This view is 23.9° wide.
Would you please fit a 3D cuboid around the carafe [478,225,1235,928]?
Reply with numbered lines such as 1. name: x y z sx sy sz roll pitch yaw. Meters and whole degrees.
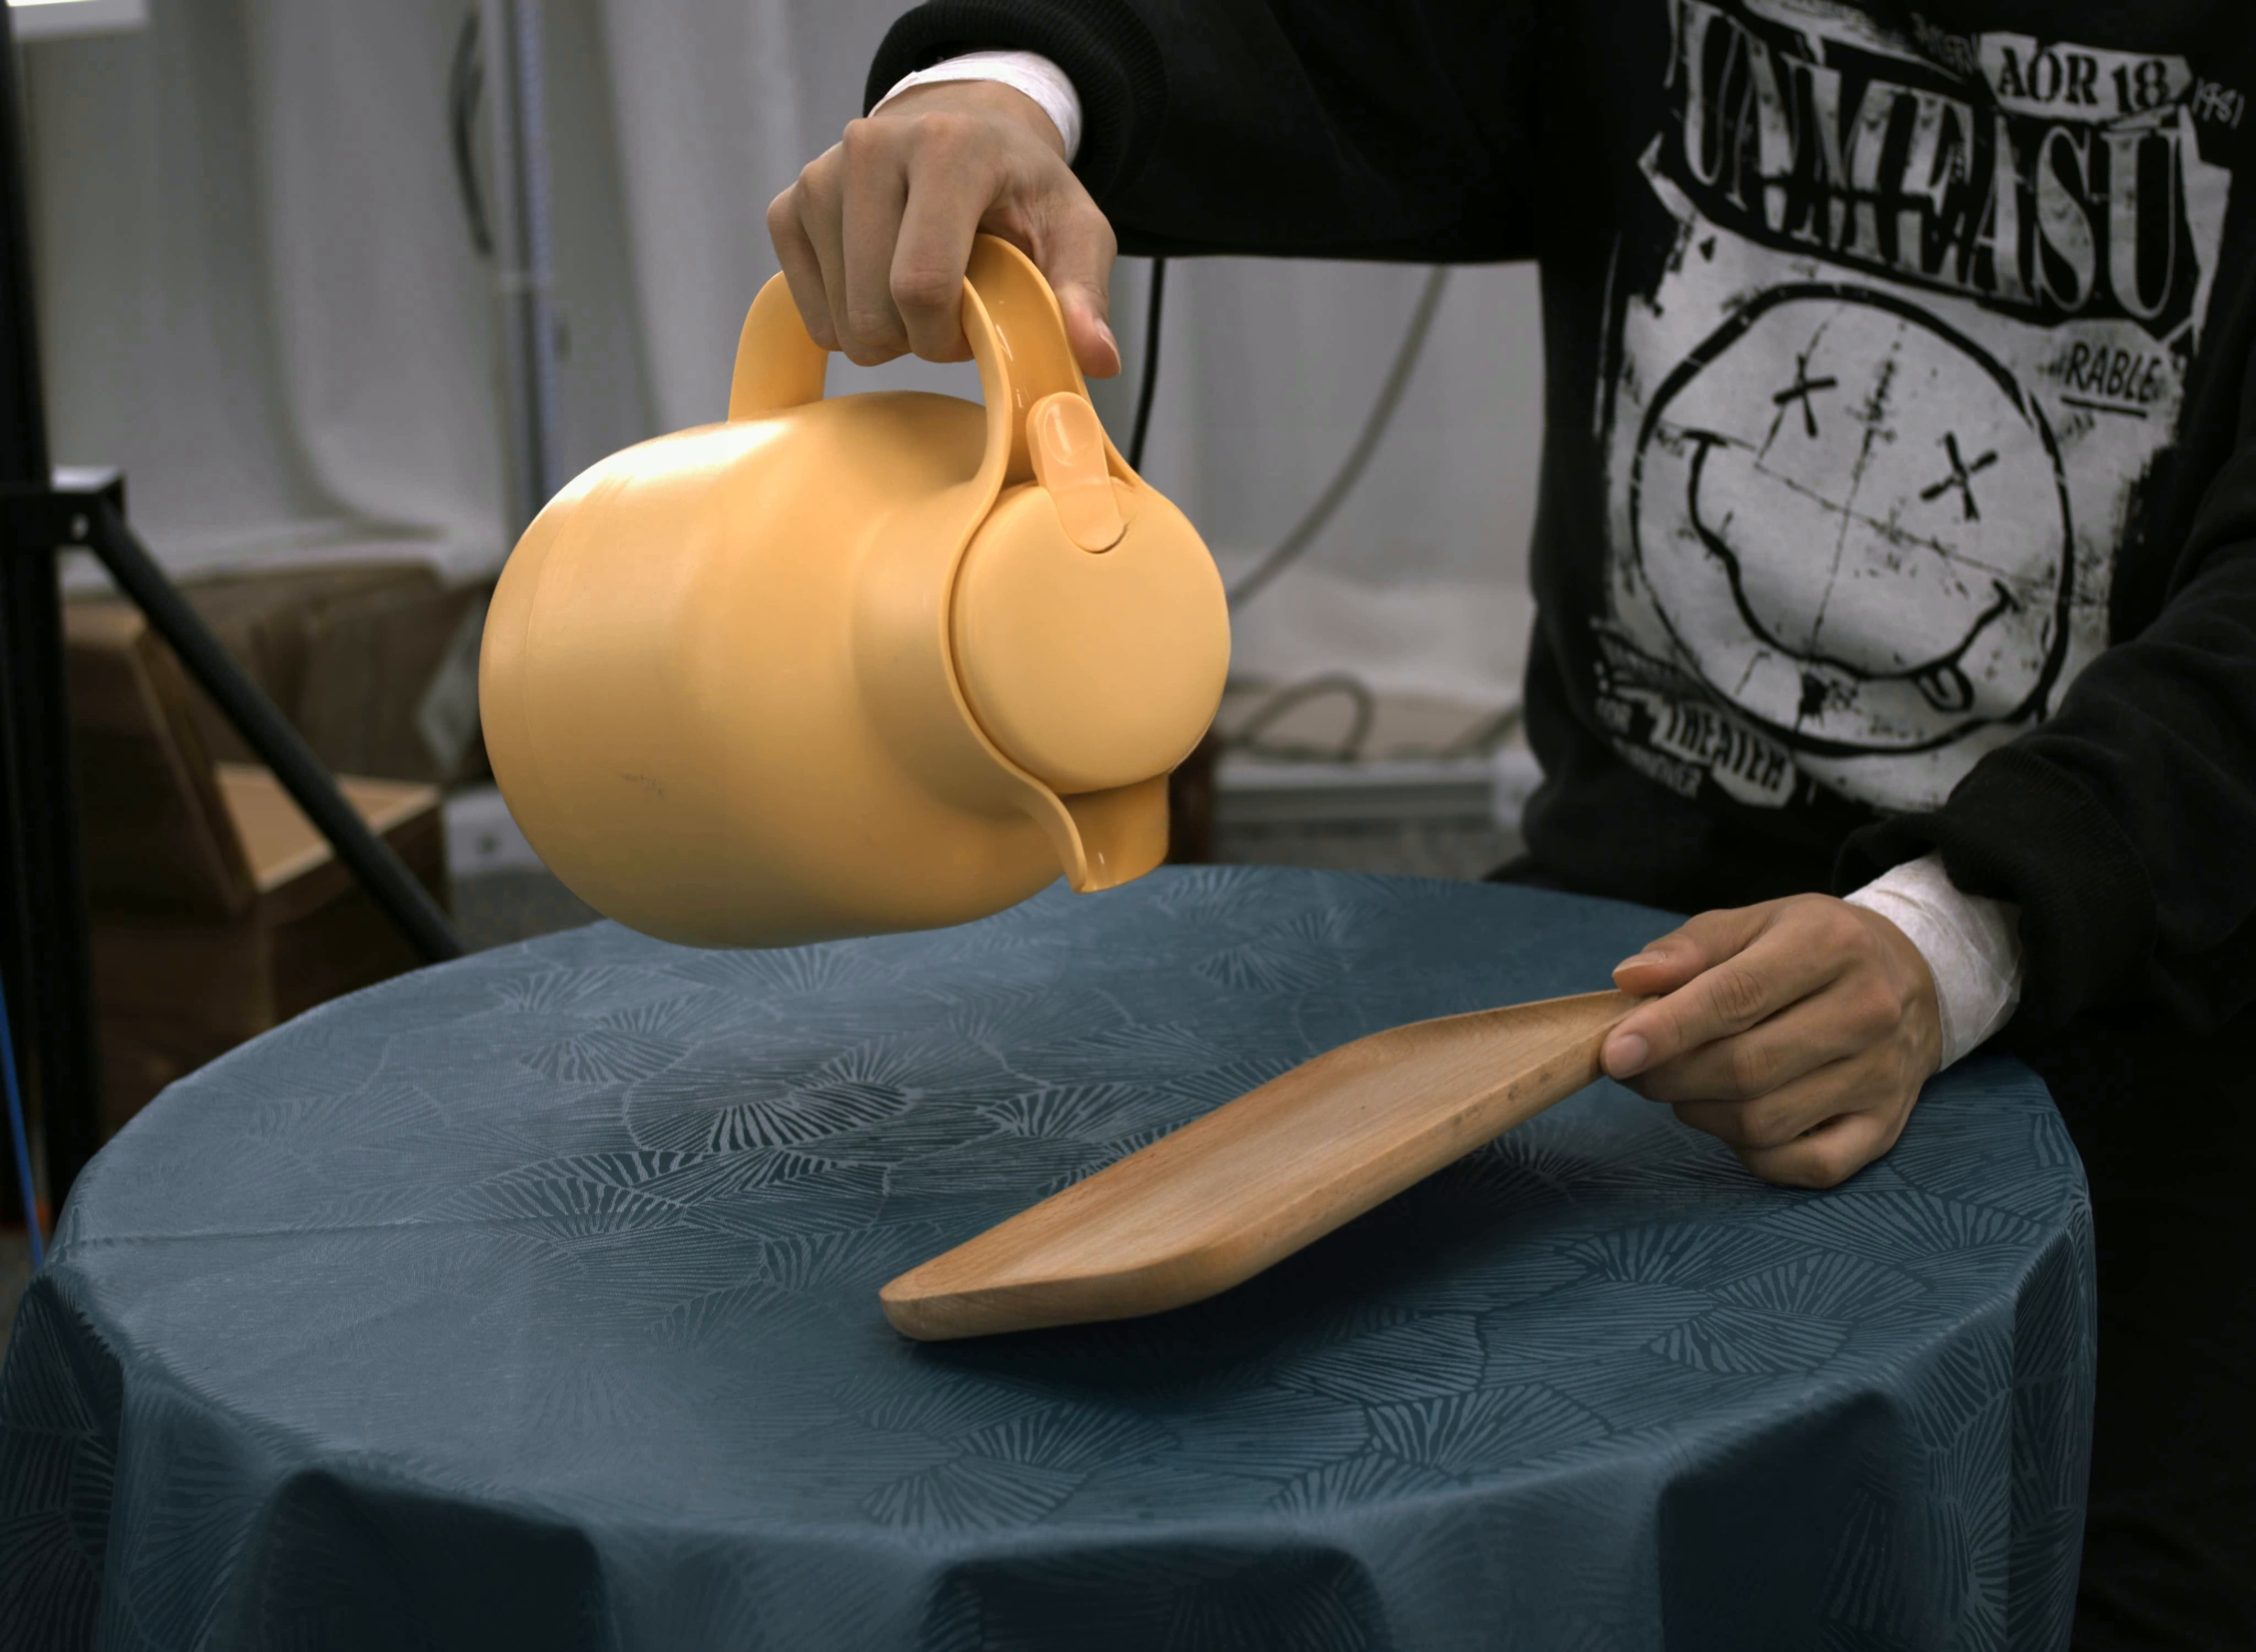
1. carafe: -0.074 -0.071 1.581 0.159 0.203 0.265 -6 2 -34

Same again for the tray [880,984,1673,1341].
1. tray: 0.046 0.094 1.492 0.133 0.023 0.245 -8 10 43
